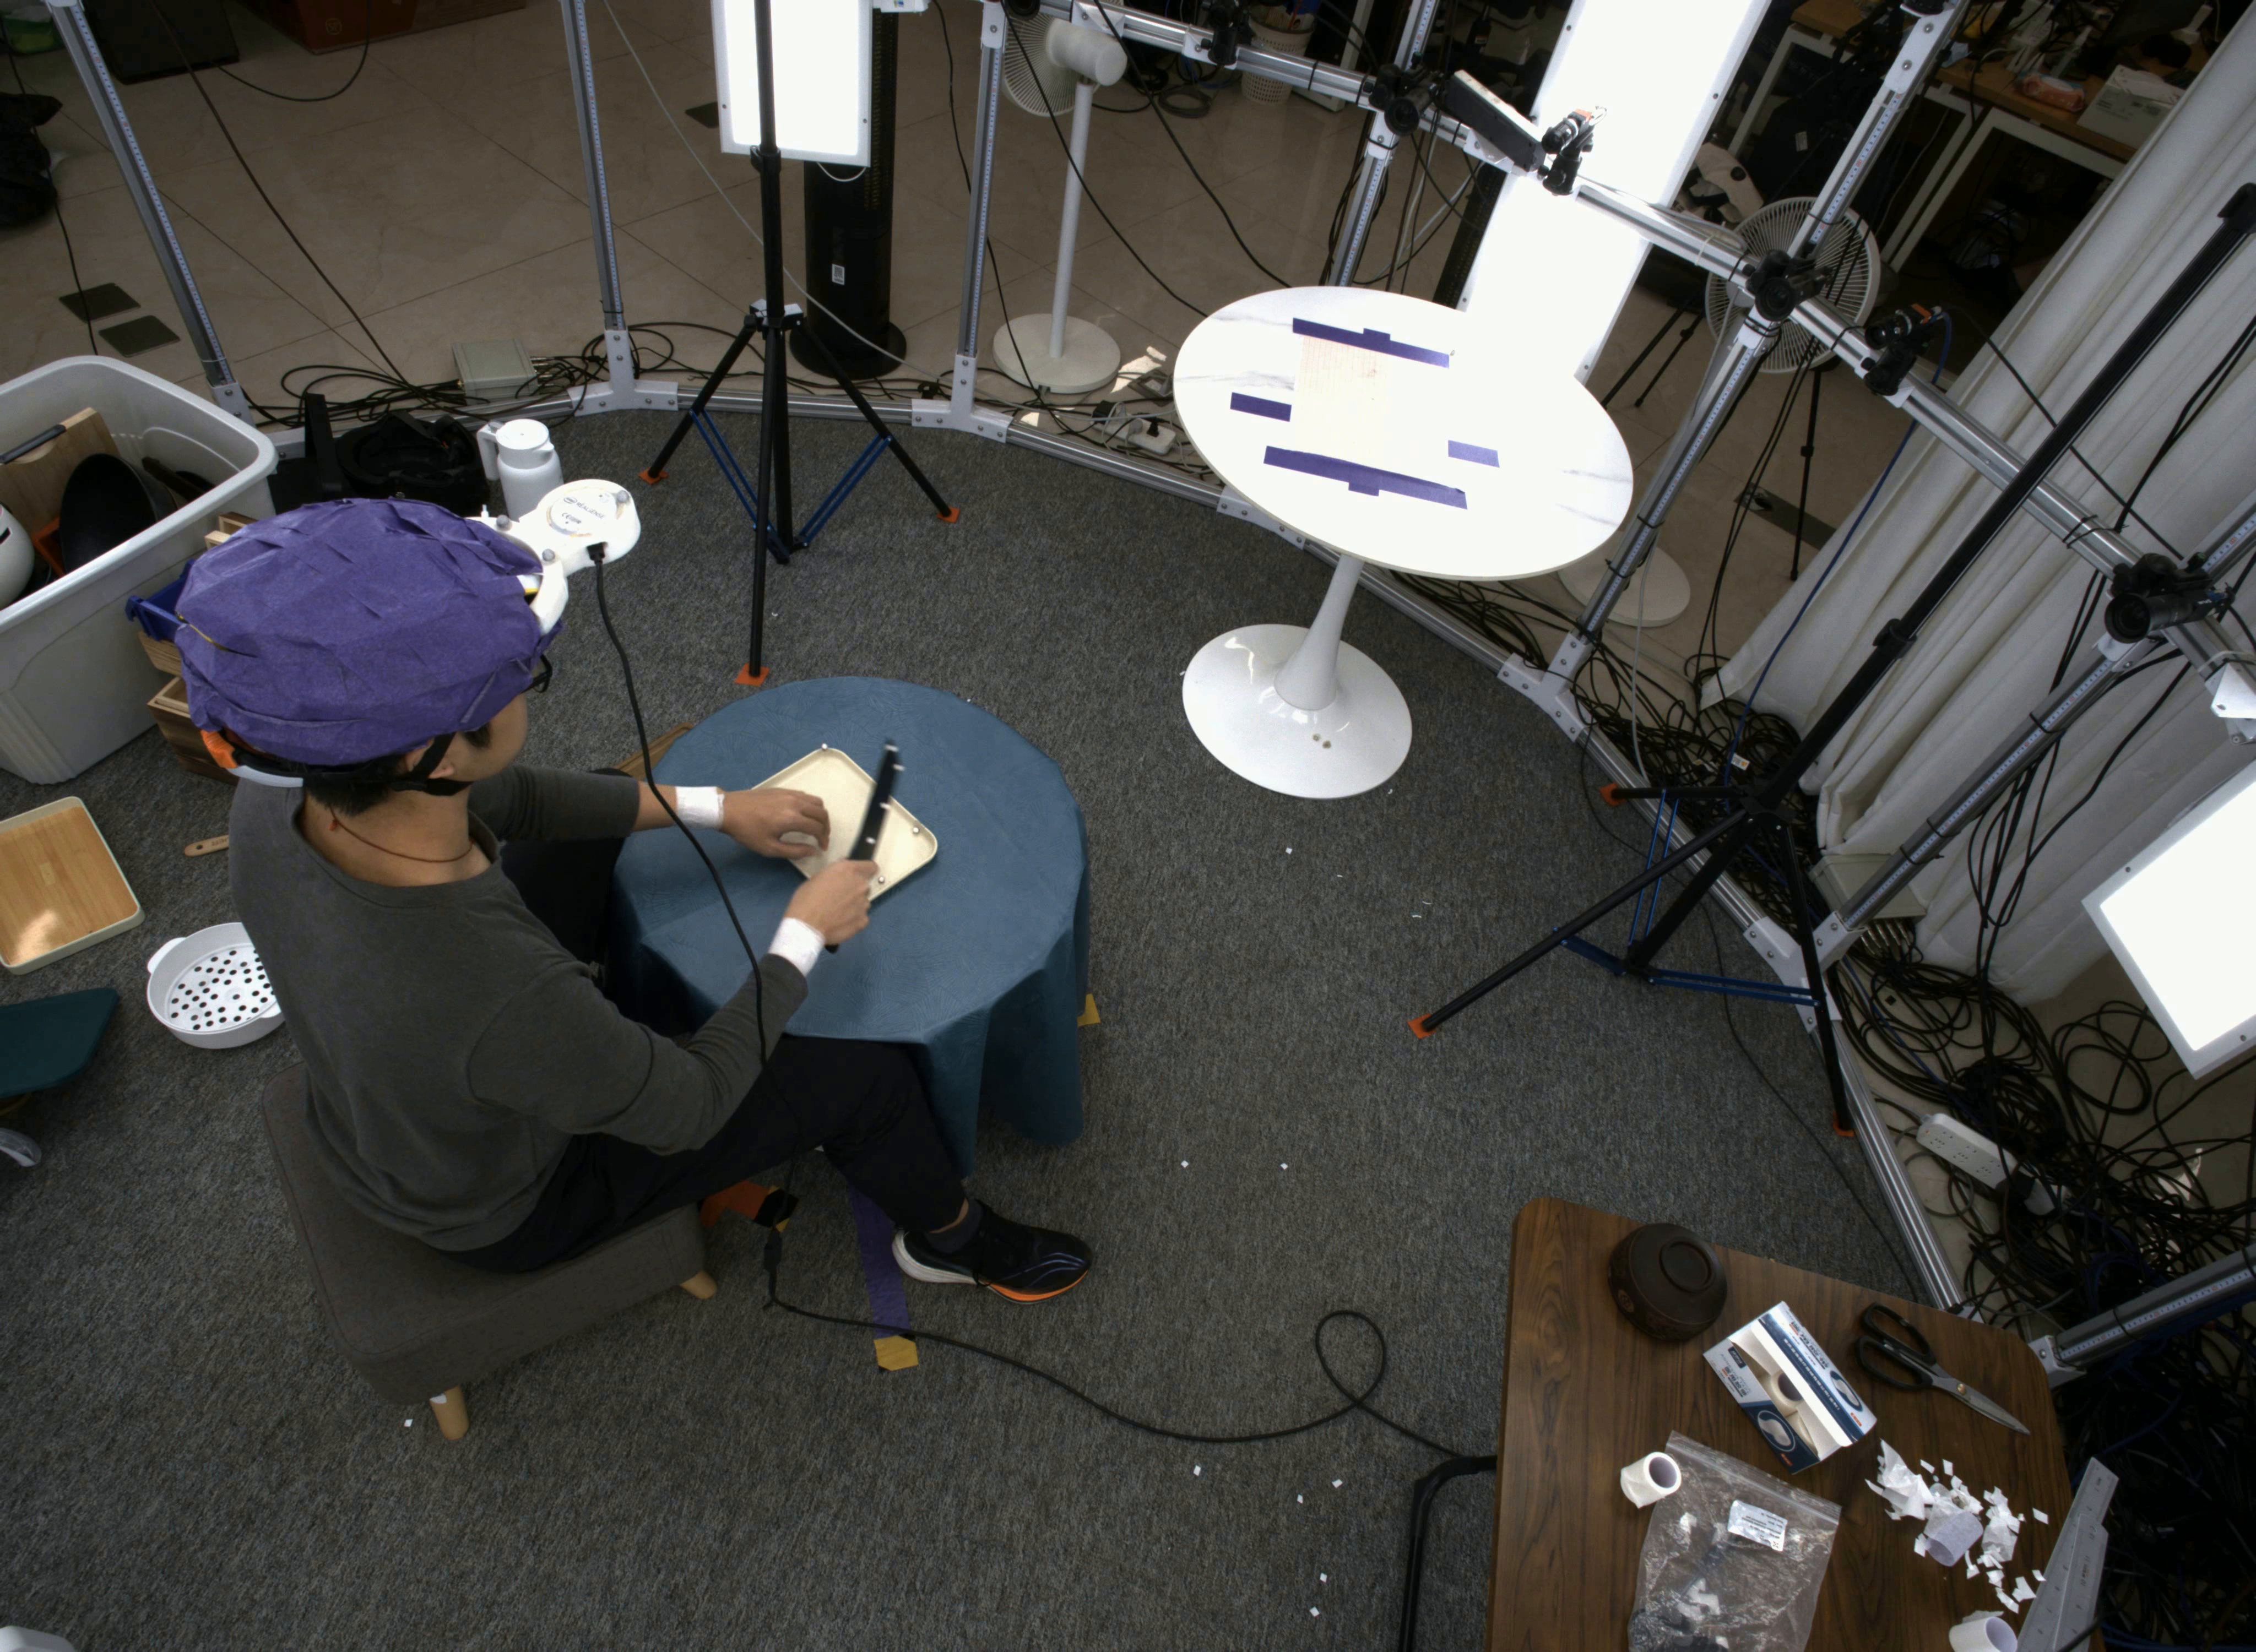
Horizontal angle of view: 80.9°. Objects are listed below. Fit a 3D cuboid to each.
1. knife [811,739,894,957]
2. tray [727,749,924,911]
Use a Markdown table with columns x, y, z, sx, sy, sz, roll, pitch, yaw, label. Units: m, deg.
| x | y | z | sx | sy | sz | roll | pitch | yaw | label |
| --- | --- | --- | --- | --- | --- | --- | --- | --- | --- |
| -0.336 | 0.027 | 1.606 | 0.020 | 0.083 | 0.298 | 5 | 54 | 11 | knife |
| -0.403 | 0.003 | 1.727 | 0.234 | 0.018 | 0.171 | 40 | 55 | 16 | tray |
